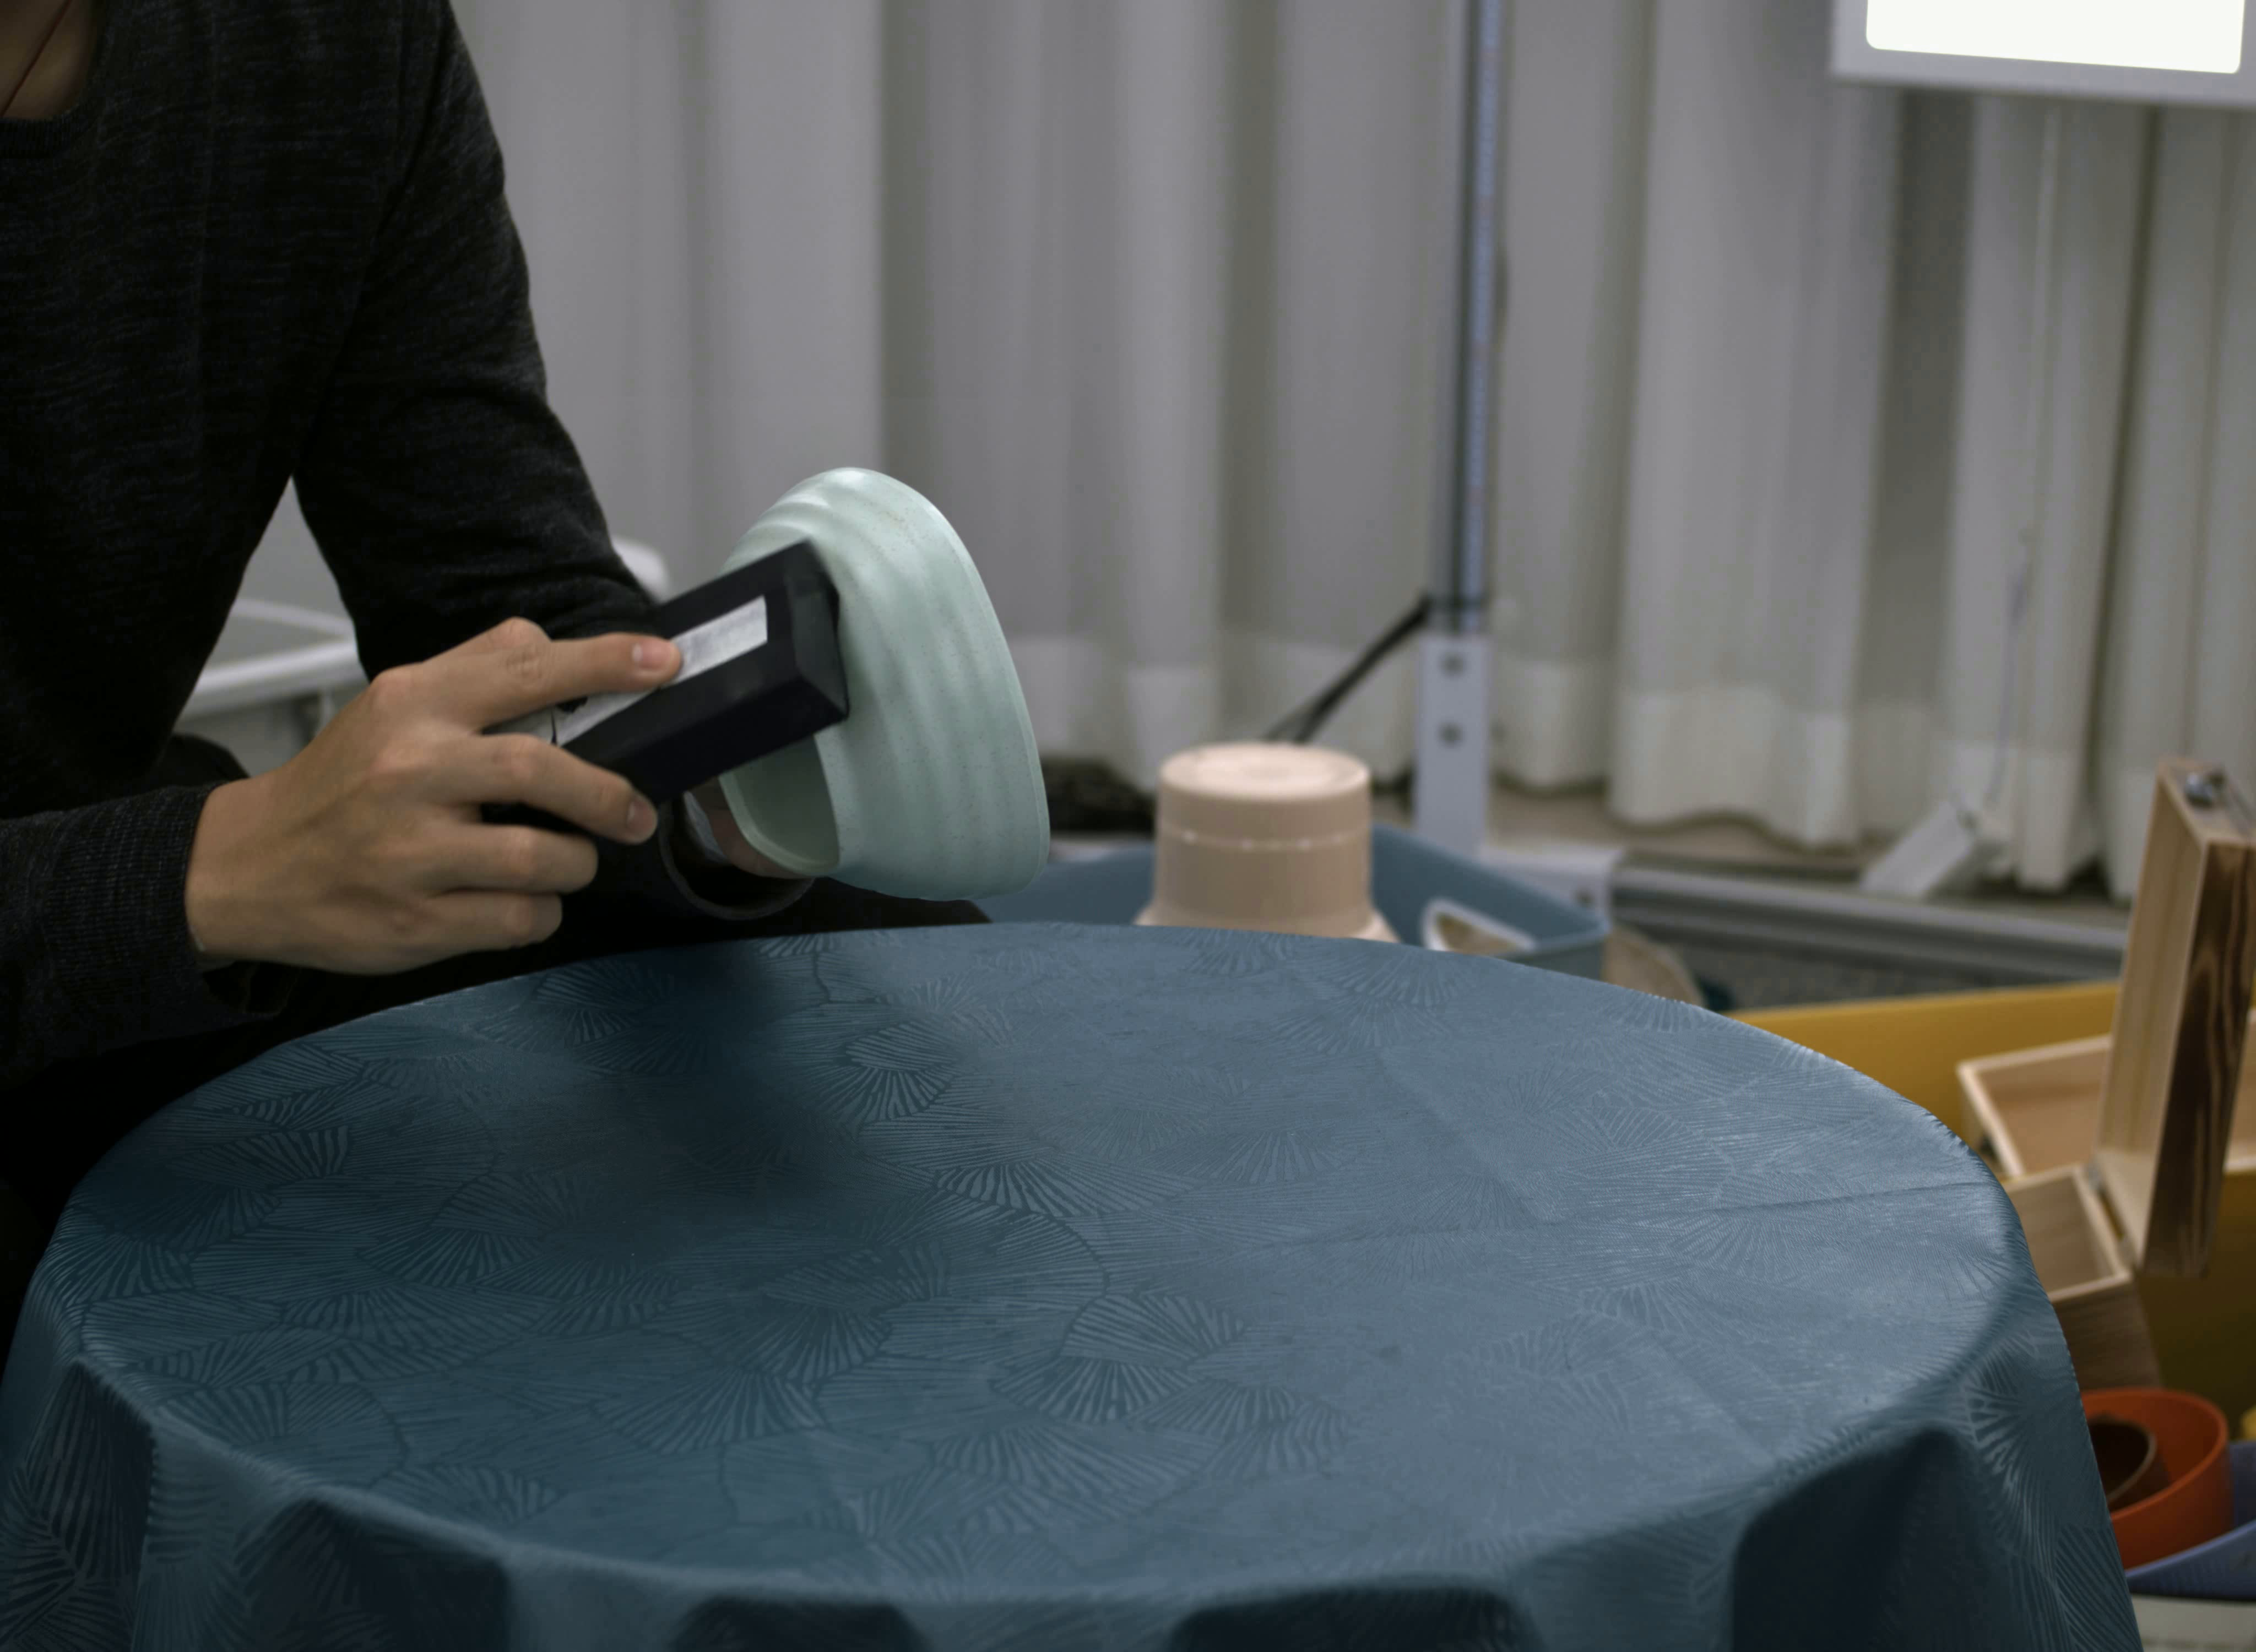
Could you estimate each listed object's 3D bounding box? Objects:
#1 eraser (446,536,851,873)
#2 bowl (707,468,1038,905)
[{"bbox_3d":[-0.140,-0.036,1.534,0.125,0.031,0.053,-26,49,17],"label":"eraser"},{"bbox_3d":[-0.089,-0.034,1.593,0.059,0.153,0.149,-22,25,-23],"label":"bowl"}]
